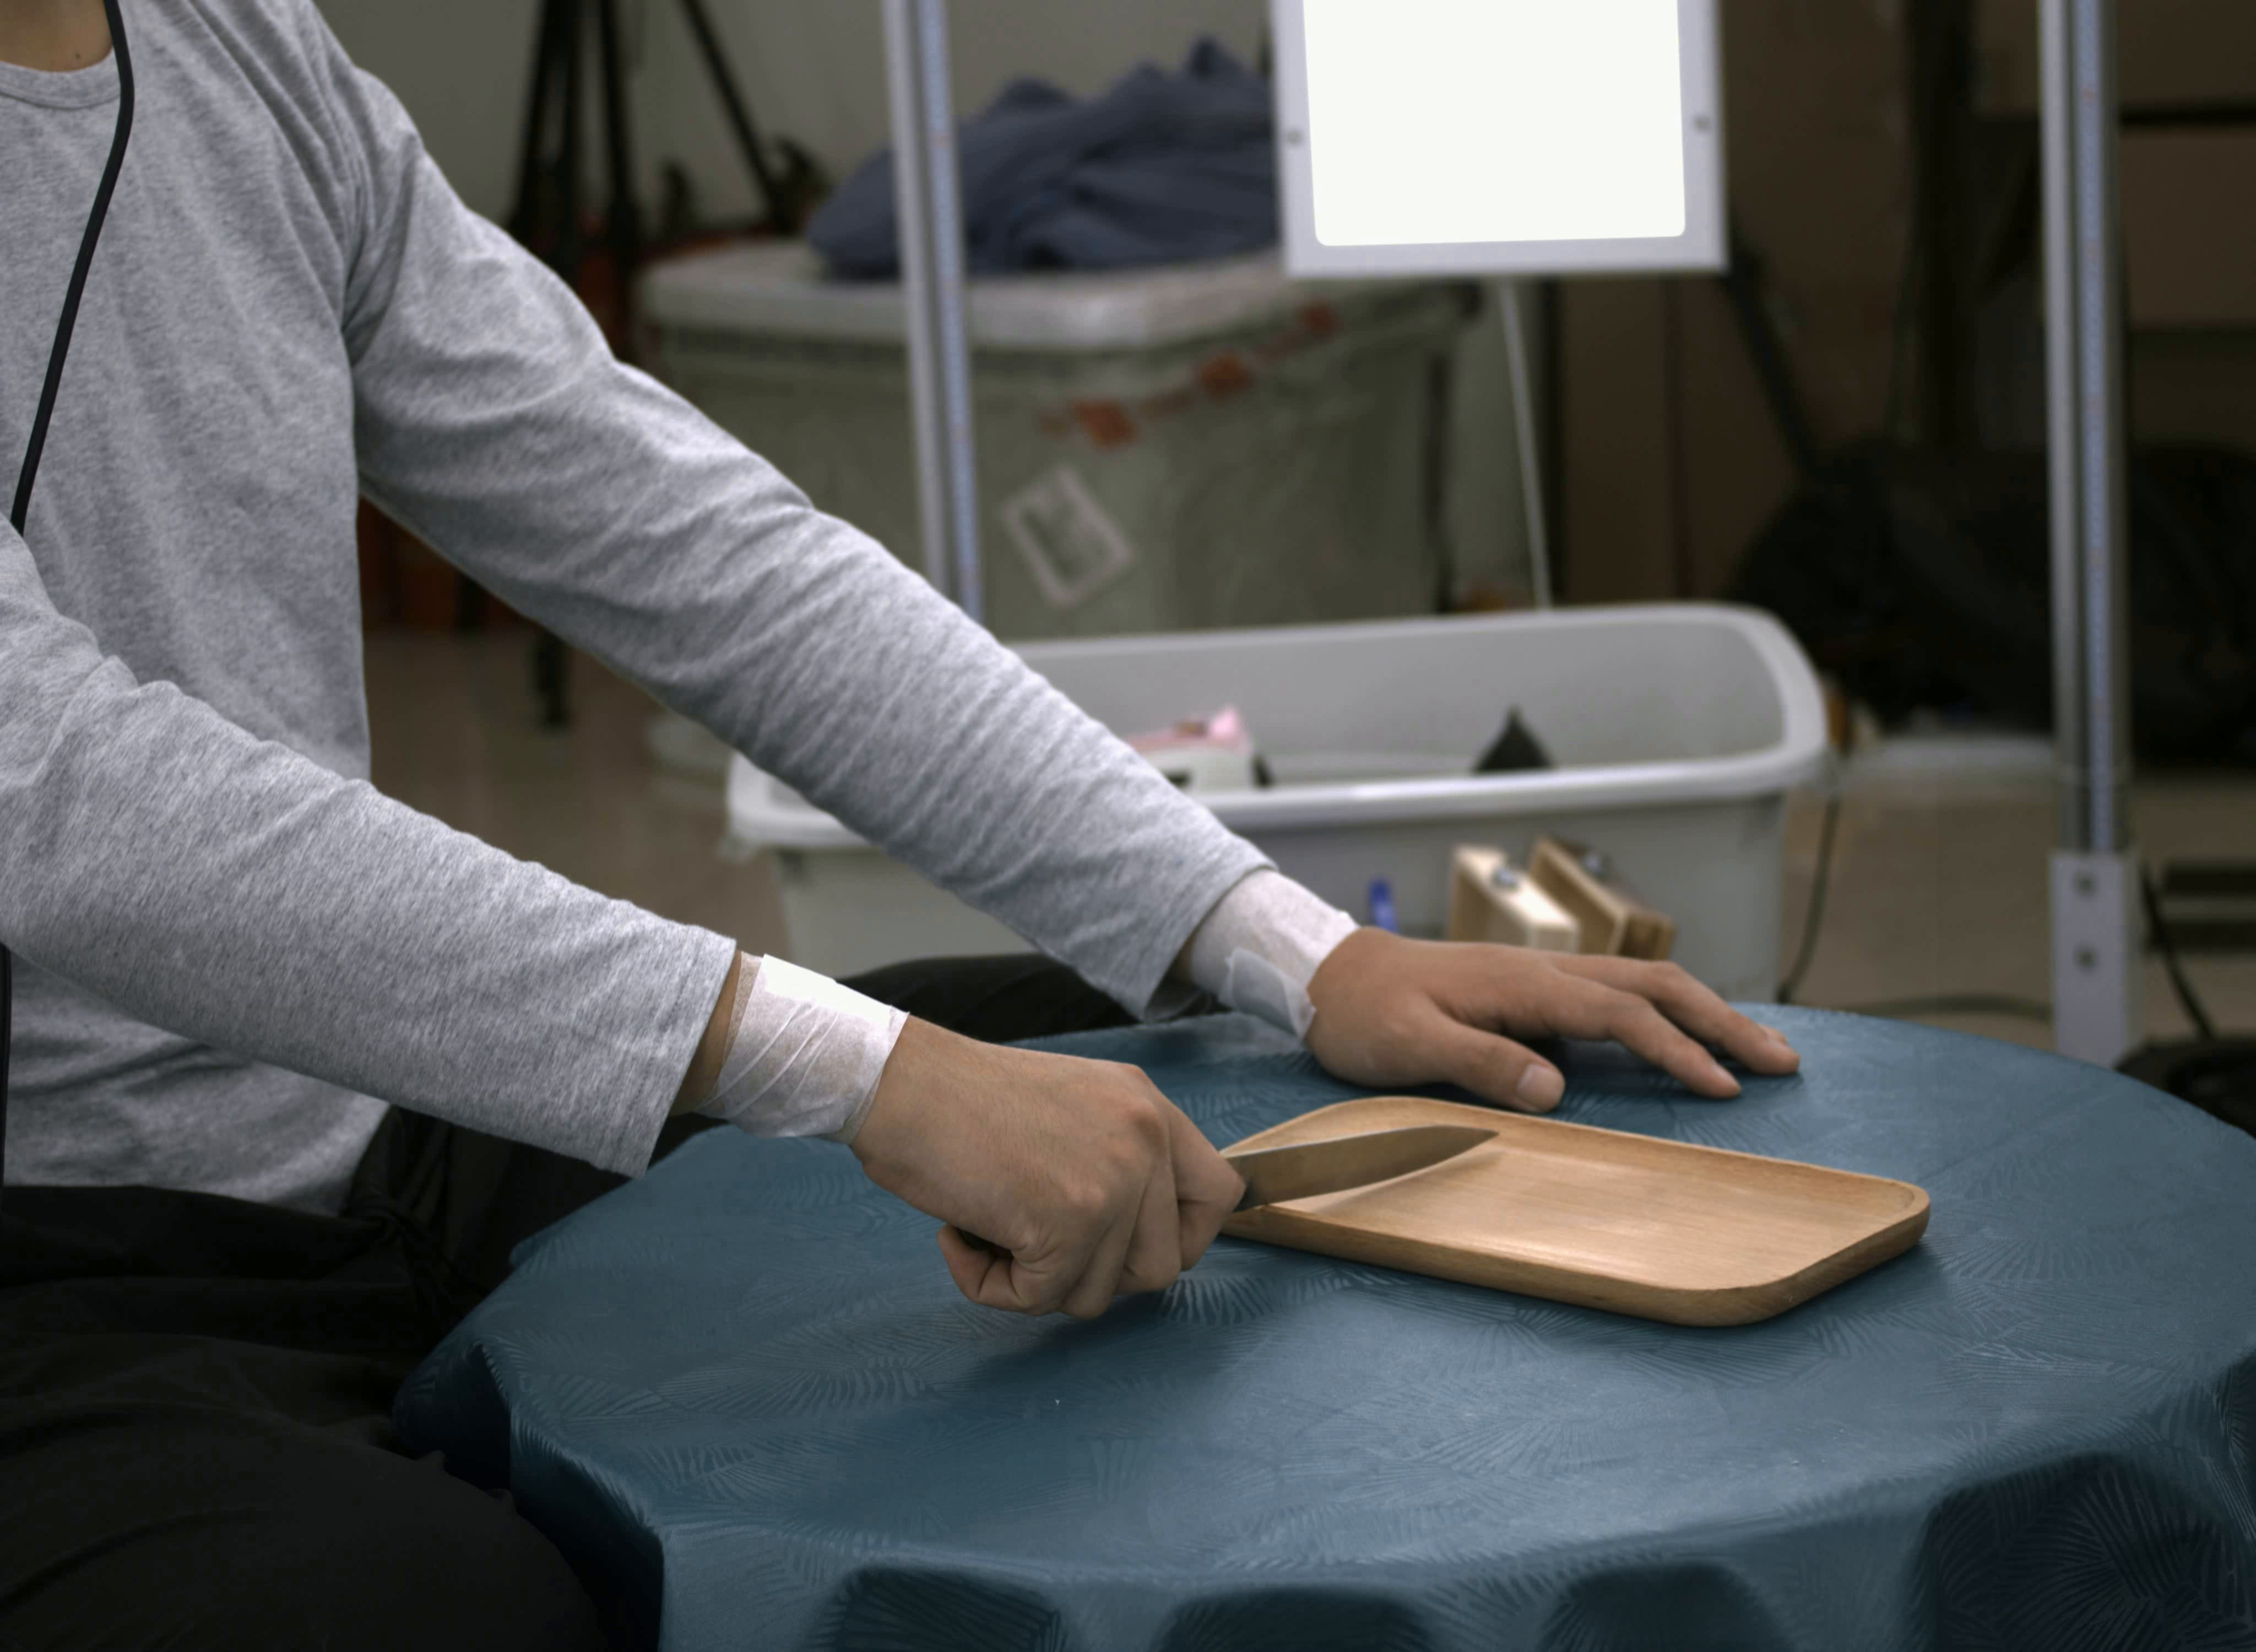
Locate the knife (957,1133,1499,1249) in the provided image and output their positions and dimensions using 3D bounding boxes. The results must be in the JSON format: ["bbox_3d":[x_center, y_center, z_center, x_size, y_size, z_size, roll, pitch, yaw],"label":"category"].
[{"bbox_3d":[0.039,0.116,1.814,0.232,0.024,0.016,-5,27,-39],"label":"knife"}]

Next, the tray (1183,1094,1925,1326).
[{"bbox_3d":[0.137,0.125,1.822,0.256,0.023,0.127,7,15,44],"label":"tray"}]
